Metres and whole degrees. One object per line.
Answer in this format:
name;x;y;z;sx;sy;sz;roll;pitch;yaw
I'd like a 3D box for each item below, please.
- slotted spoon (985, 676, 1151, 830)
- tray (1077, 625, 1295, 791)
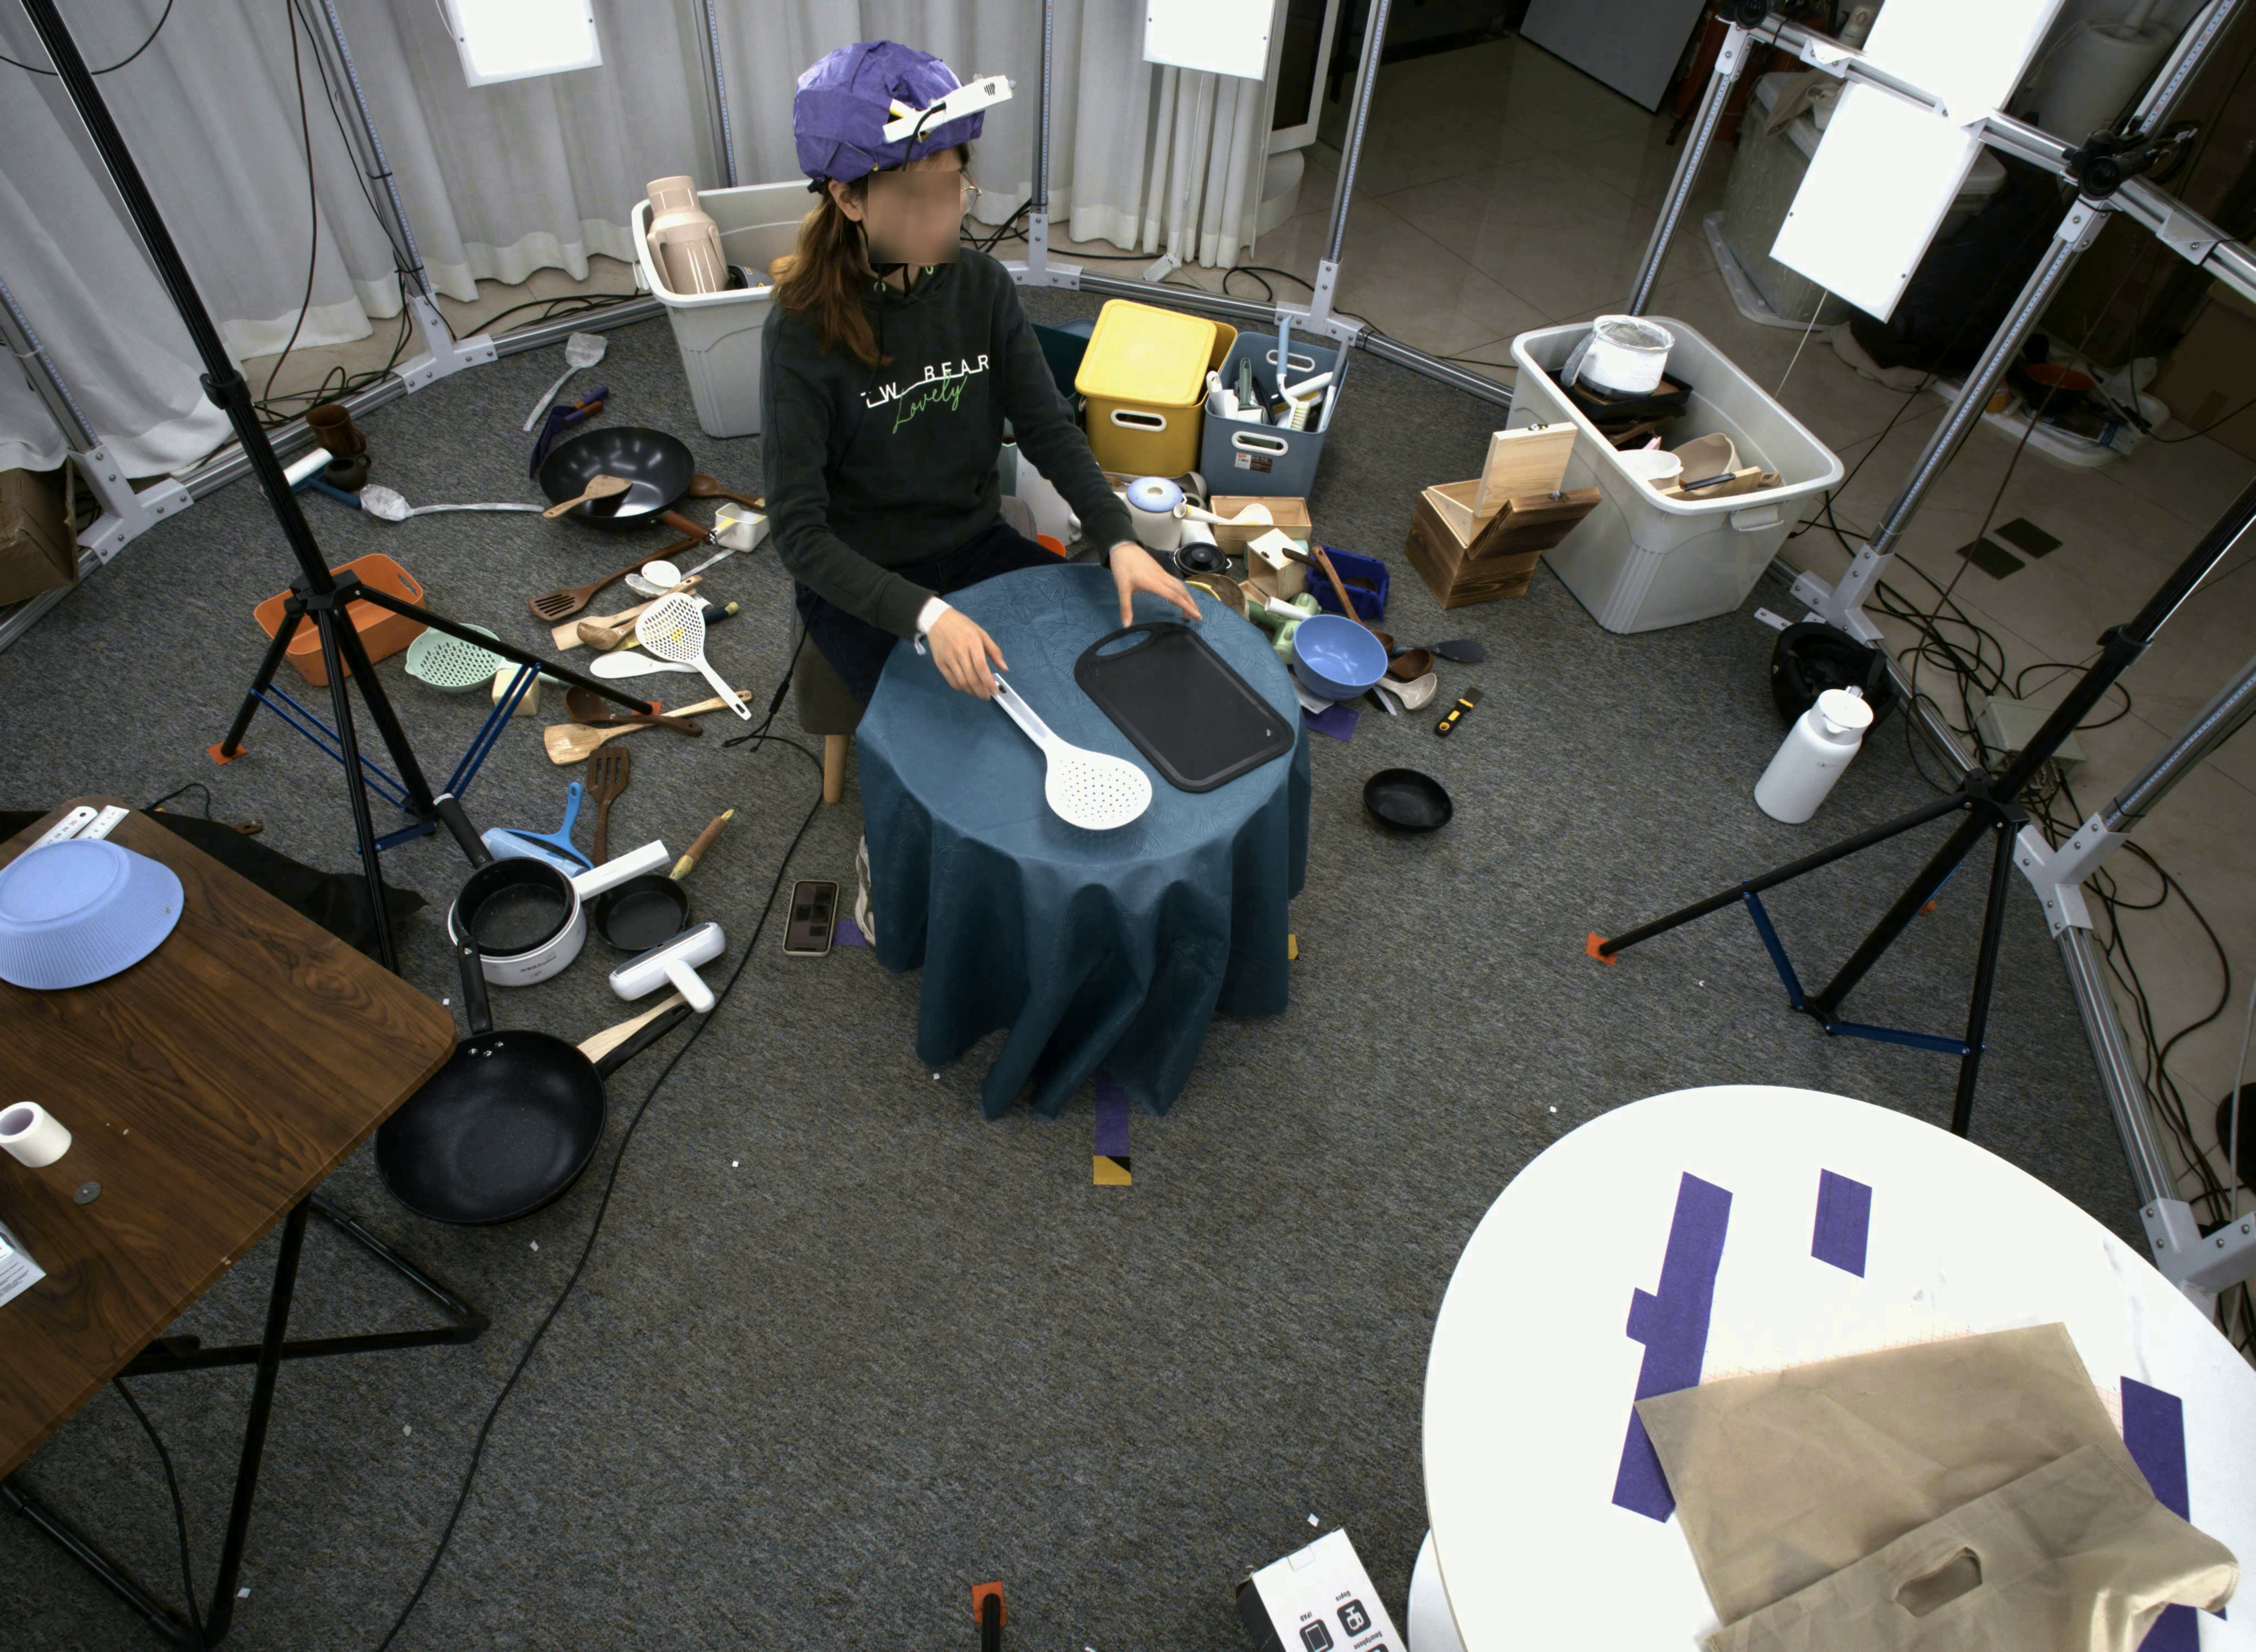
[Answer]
slotted spoon;-0.098;-0.104;1.739;0.136;0.044;0.357;-23;53;-25
tray;0.075;-0.181;1.843;0.212;0.009;0.332;-25;55;-24
